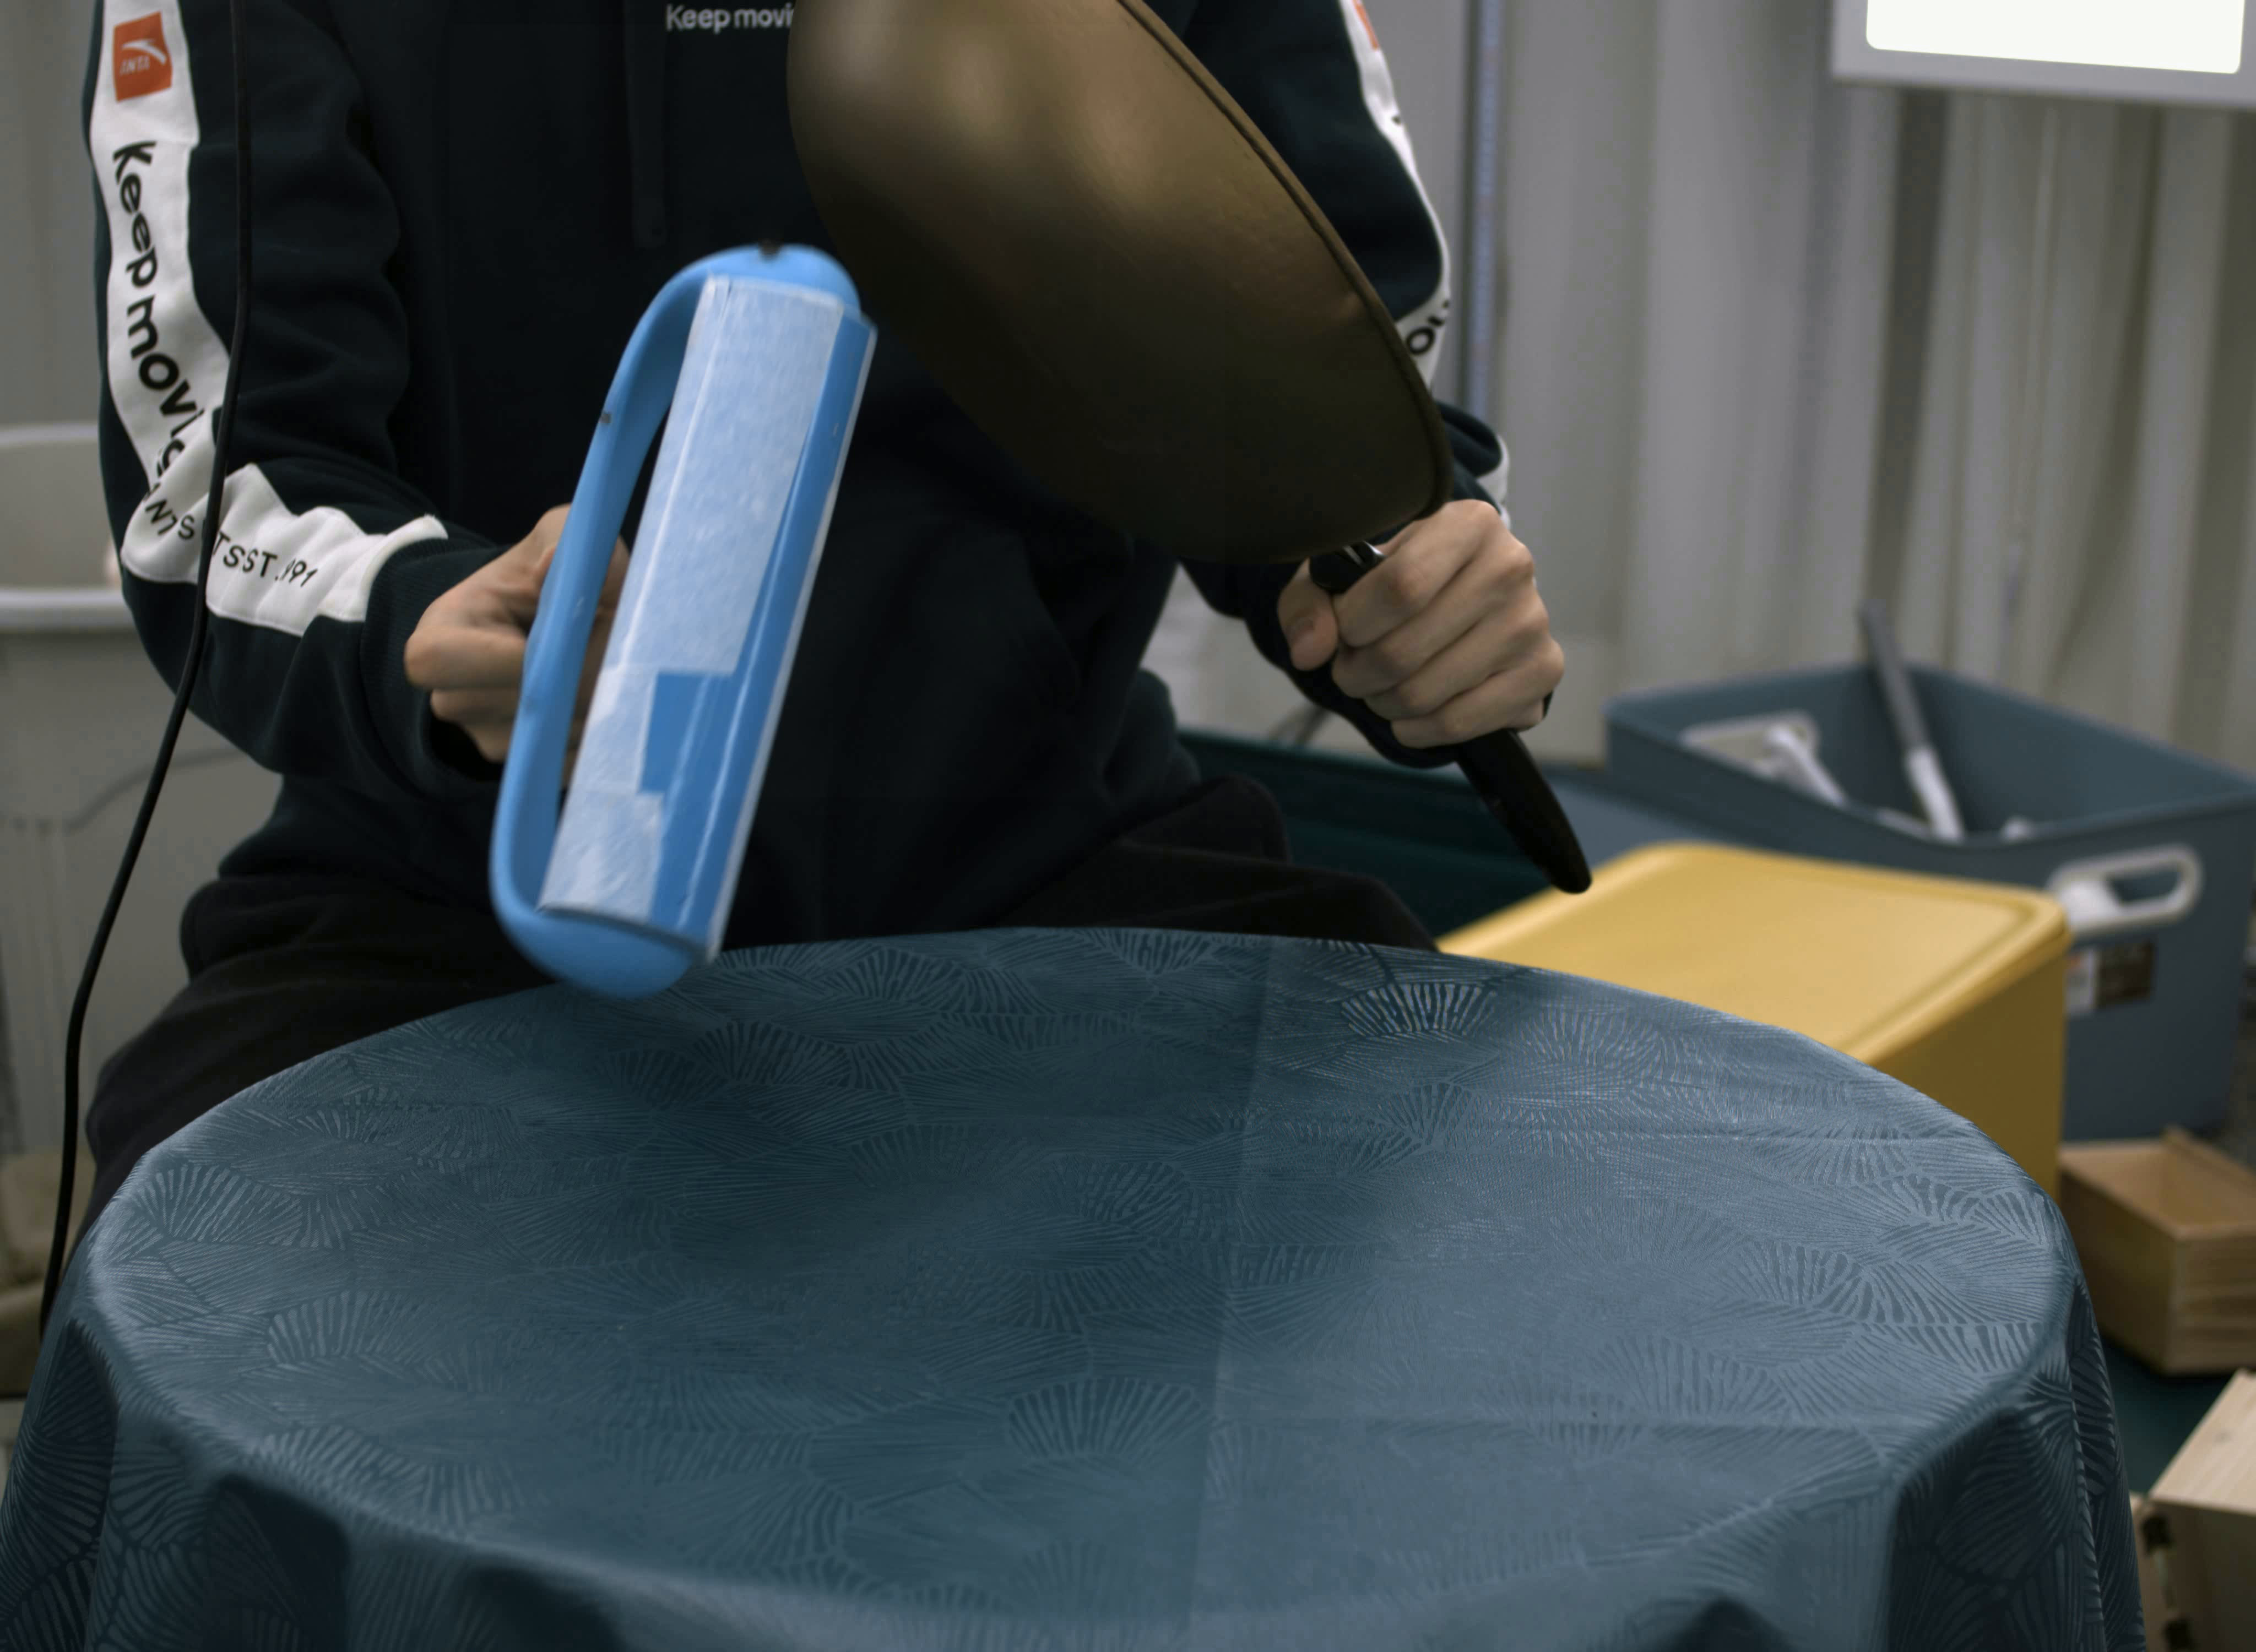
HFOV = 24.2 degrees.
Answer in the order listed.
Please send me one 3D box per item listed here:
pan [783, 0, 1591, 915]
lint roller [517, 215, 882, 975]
[{"bbox_3d":[0.019,-0.119,1.735,0.087,0.469,0.284,-40,33,-10],"label":"pan"},{"bbox_3d":[-0.143,-0.060,1.574,0.068,0.228,0.179,15,-15,-23],"label":"lint roller"}]
